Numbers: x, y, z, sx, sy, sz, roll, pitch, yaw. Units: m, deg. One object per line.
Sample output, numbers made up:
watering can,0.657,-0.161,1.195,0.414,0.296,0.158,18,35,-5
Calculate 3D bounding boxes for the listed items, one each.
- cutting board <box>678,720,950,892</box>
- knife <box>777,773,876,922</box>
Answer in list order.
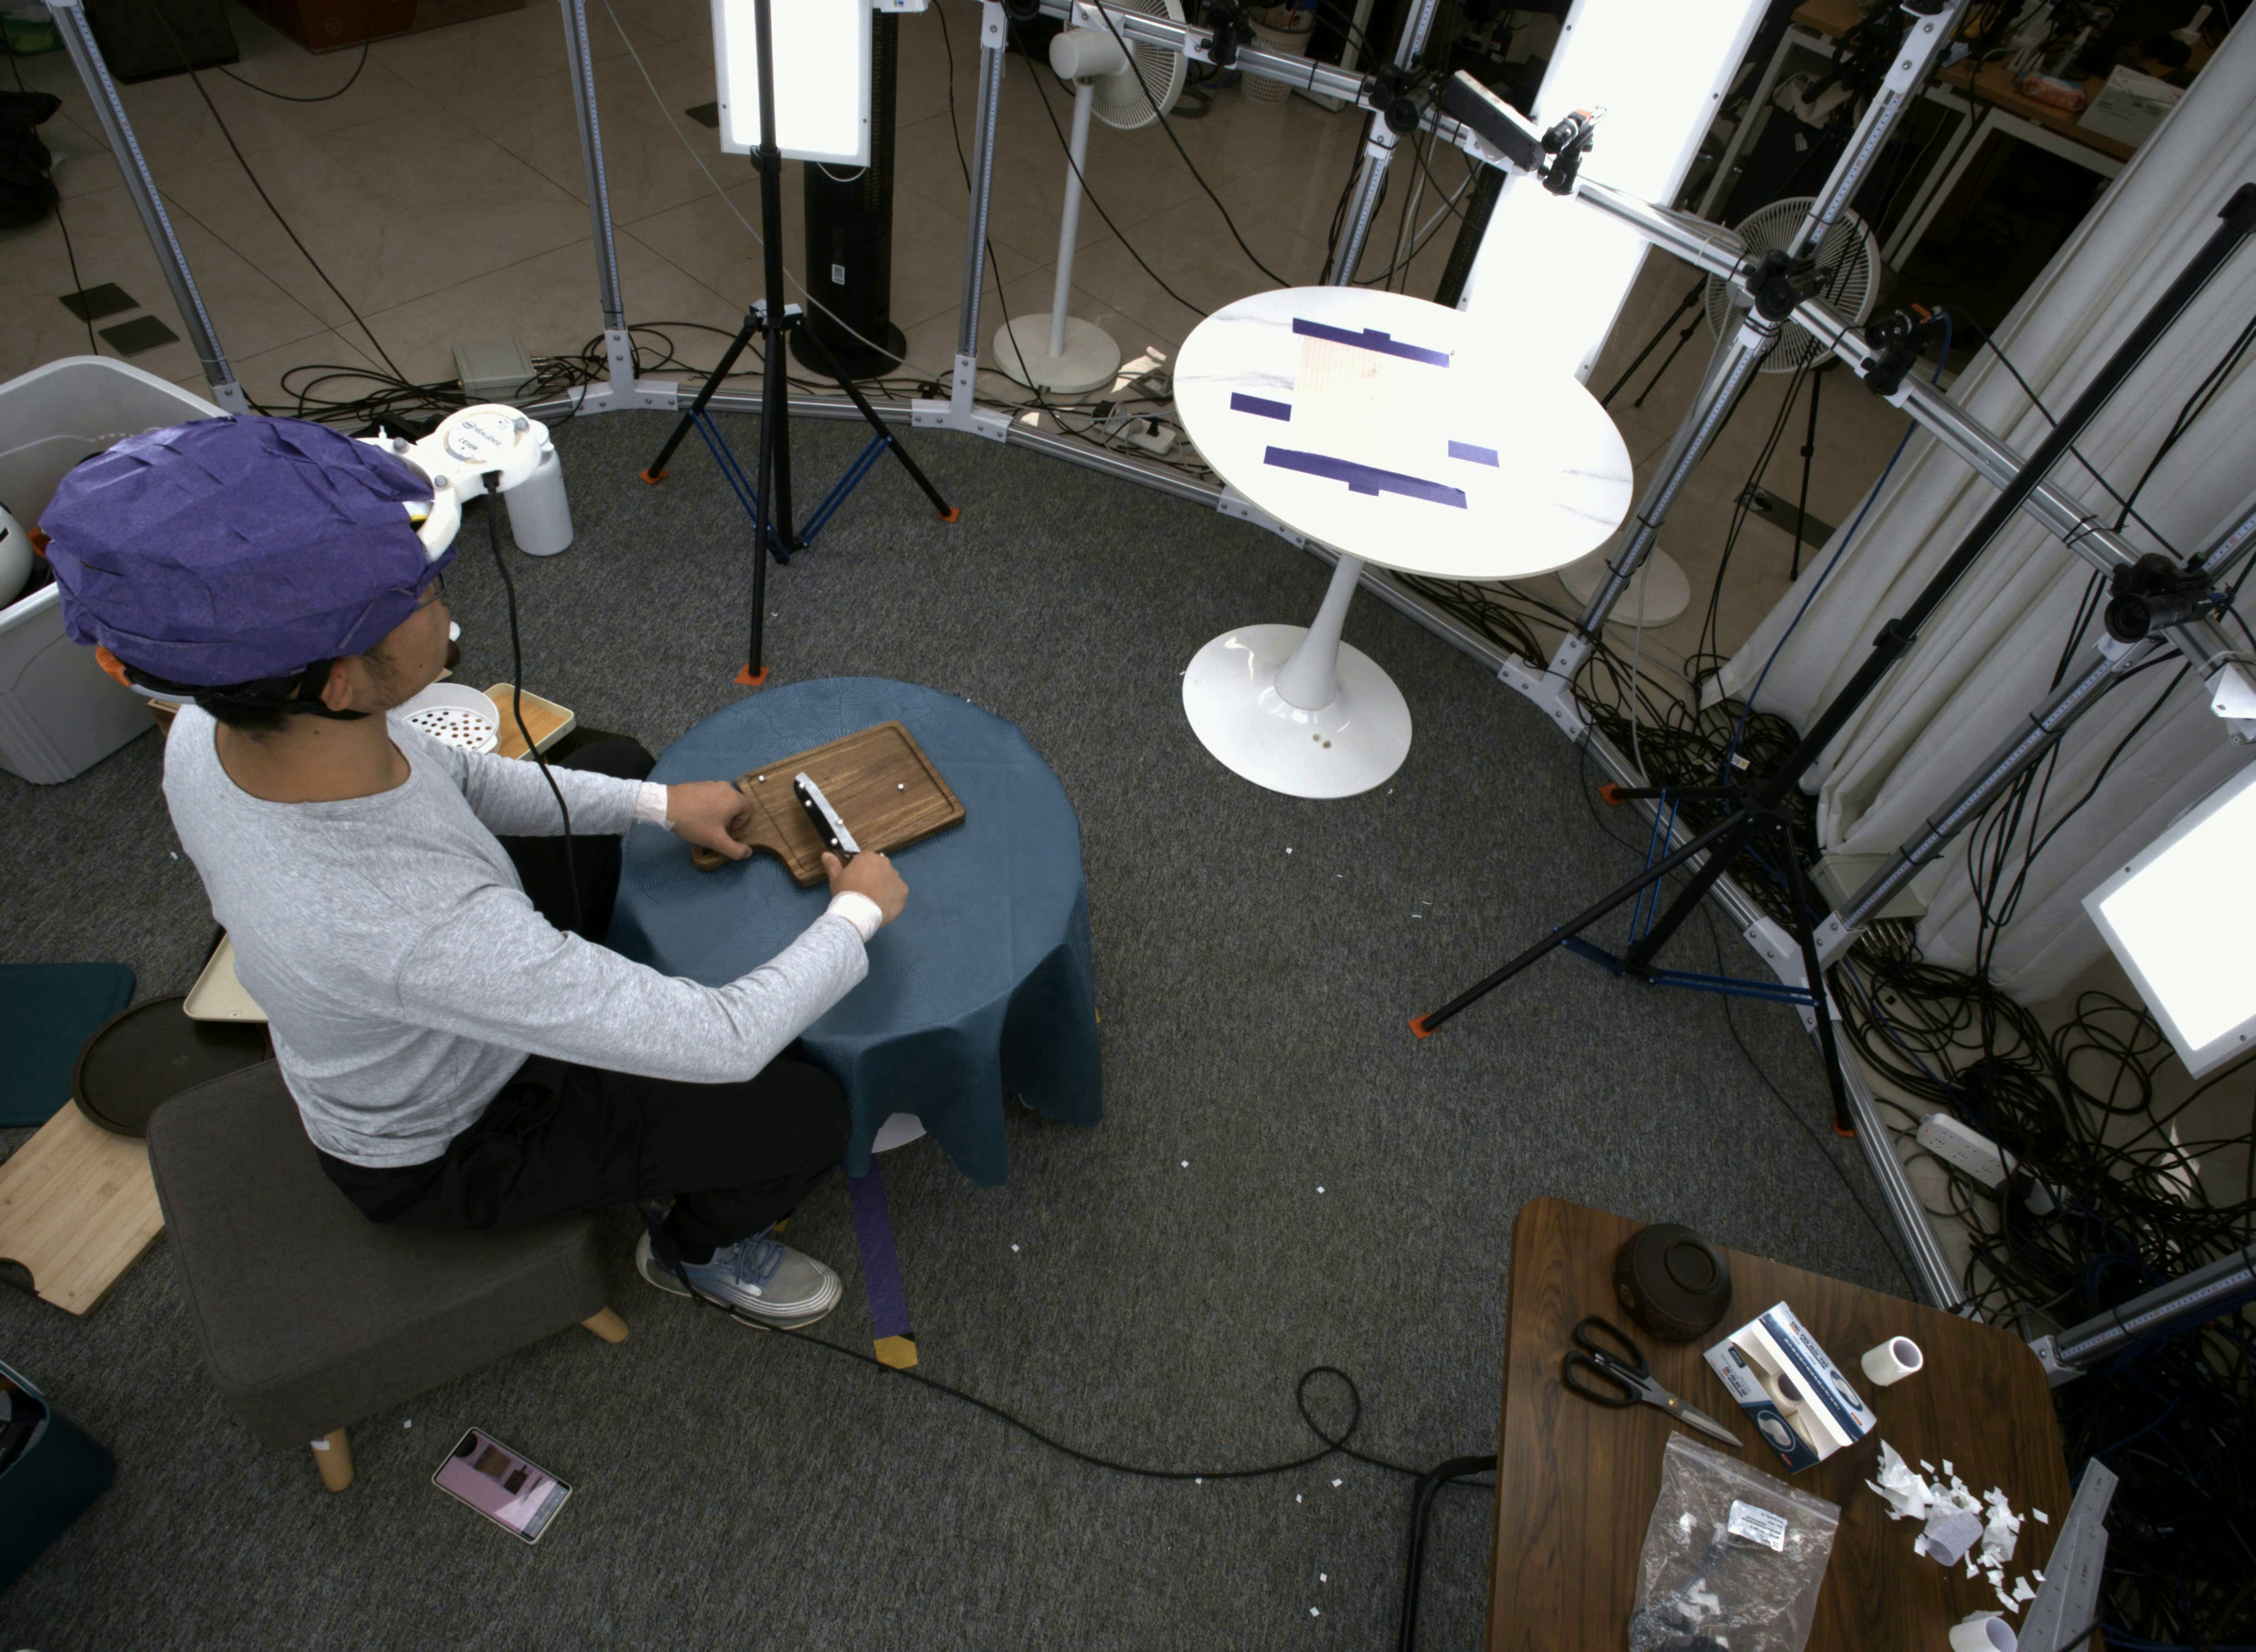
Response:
cutting board,-0.433,-0.016,1.729,0.354,0.023,0.196,-25,63,-30
knife,-0.385,0.019,1.640,0.051,0.020,0.279,4,37,-45
